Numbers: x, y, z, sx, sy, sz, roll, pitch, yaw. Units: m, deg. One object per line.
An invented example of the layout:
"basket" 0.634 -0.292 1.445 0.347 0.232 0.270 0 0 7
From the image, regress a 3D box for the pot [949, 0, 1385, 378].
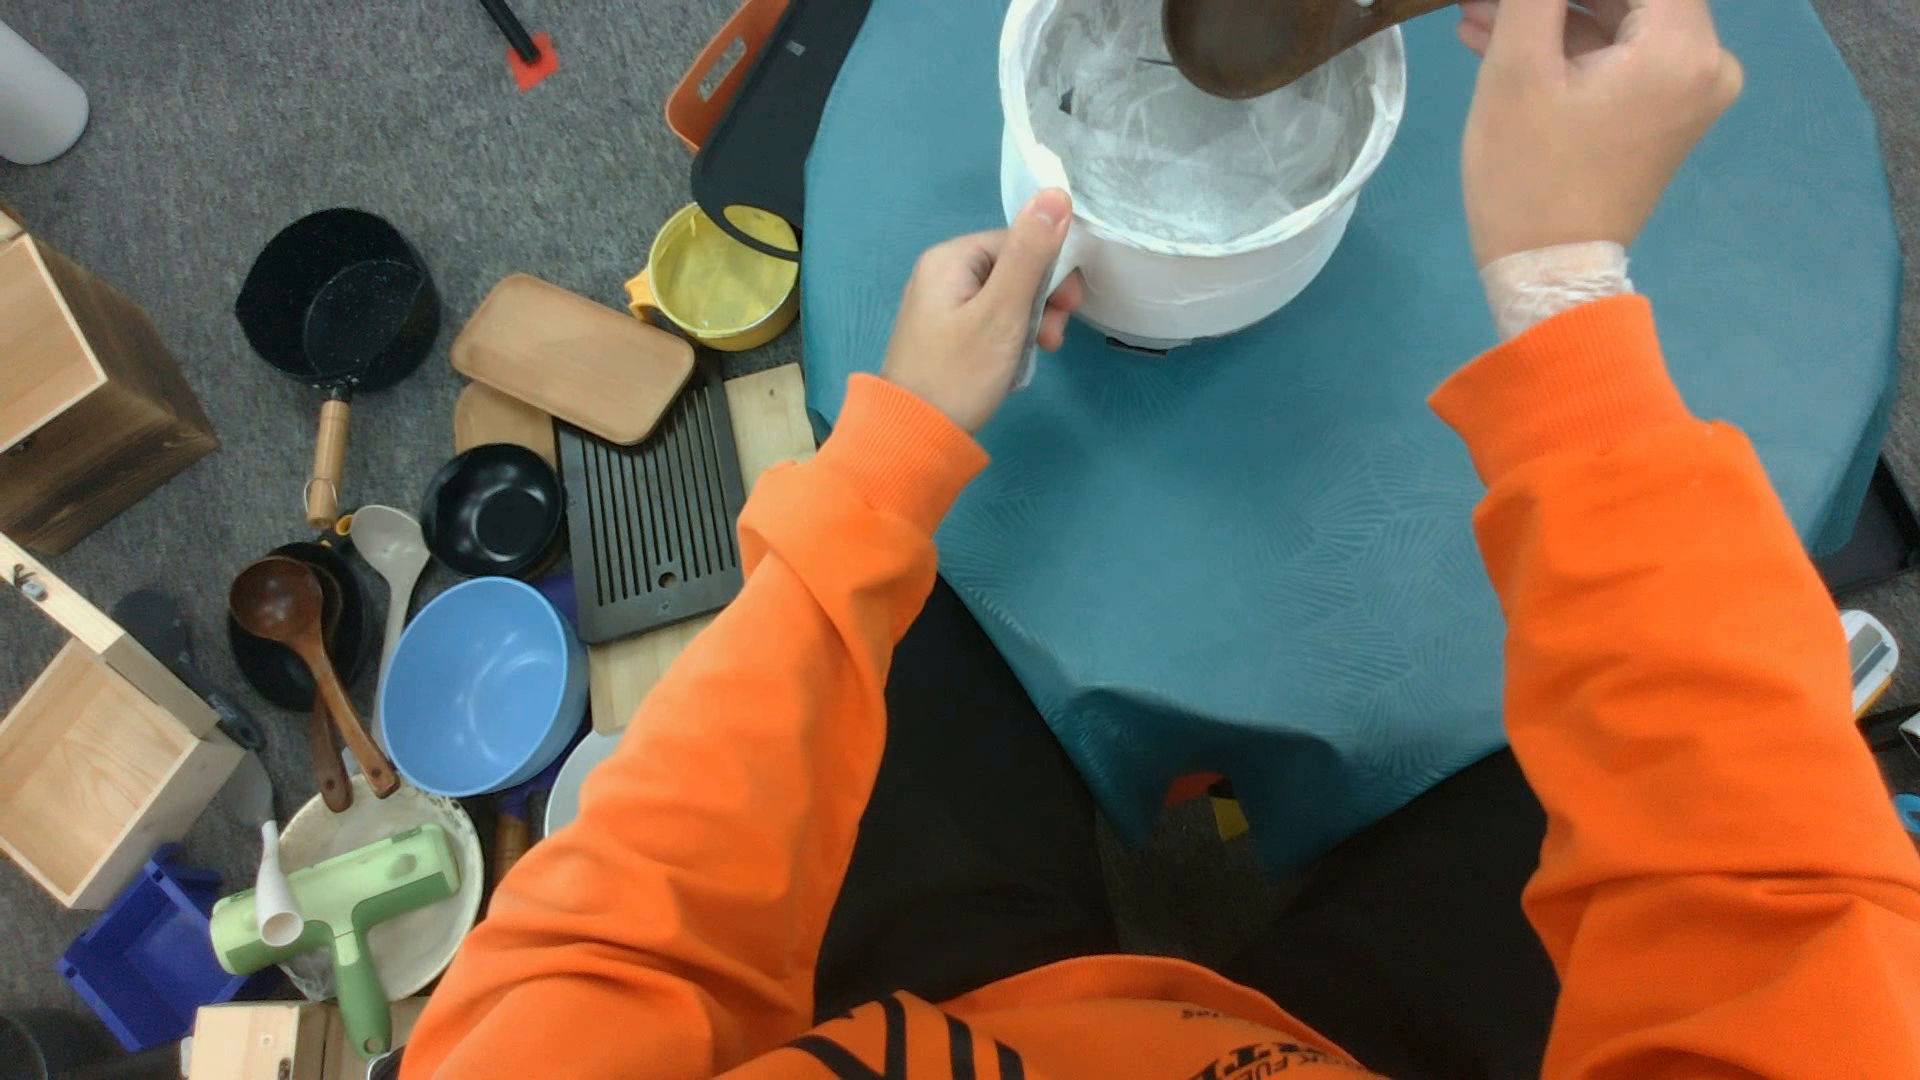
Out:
"pot" 0.082 -0.181 0.663 0.179 0.136 0.234 40 81 10

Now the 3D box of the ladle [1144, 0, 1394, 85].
"ladle" 0.171 -0.223 0.522 0.071 0.274 0.076 0 101 -28
